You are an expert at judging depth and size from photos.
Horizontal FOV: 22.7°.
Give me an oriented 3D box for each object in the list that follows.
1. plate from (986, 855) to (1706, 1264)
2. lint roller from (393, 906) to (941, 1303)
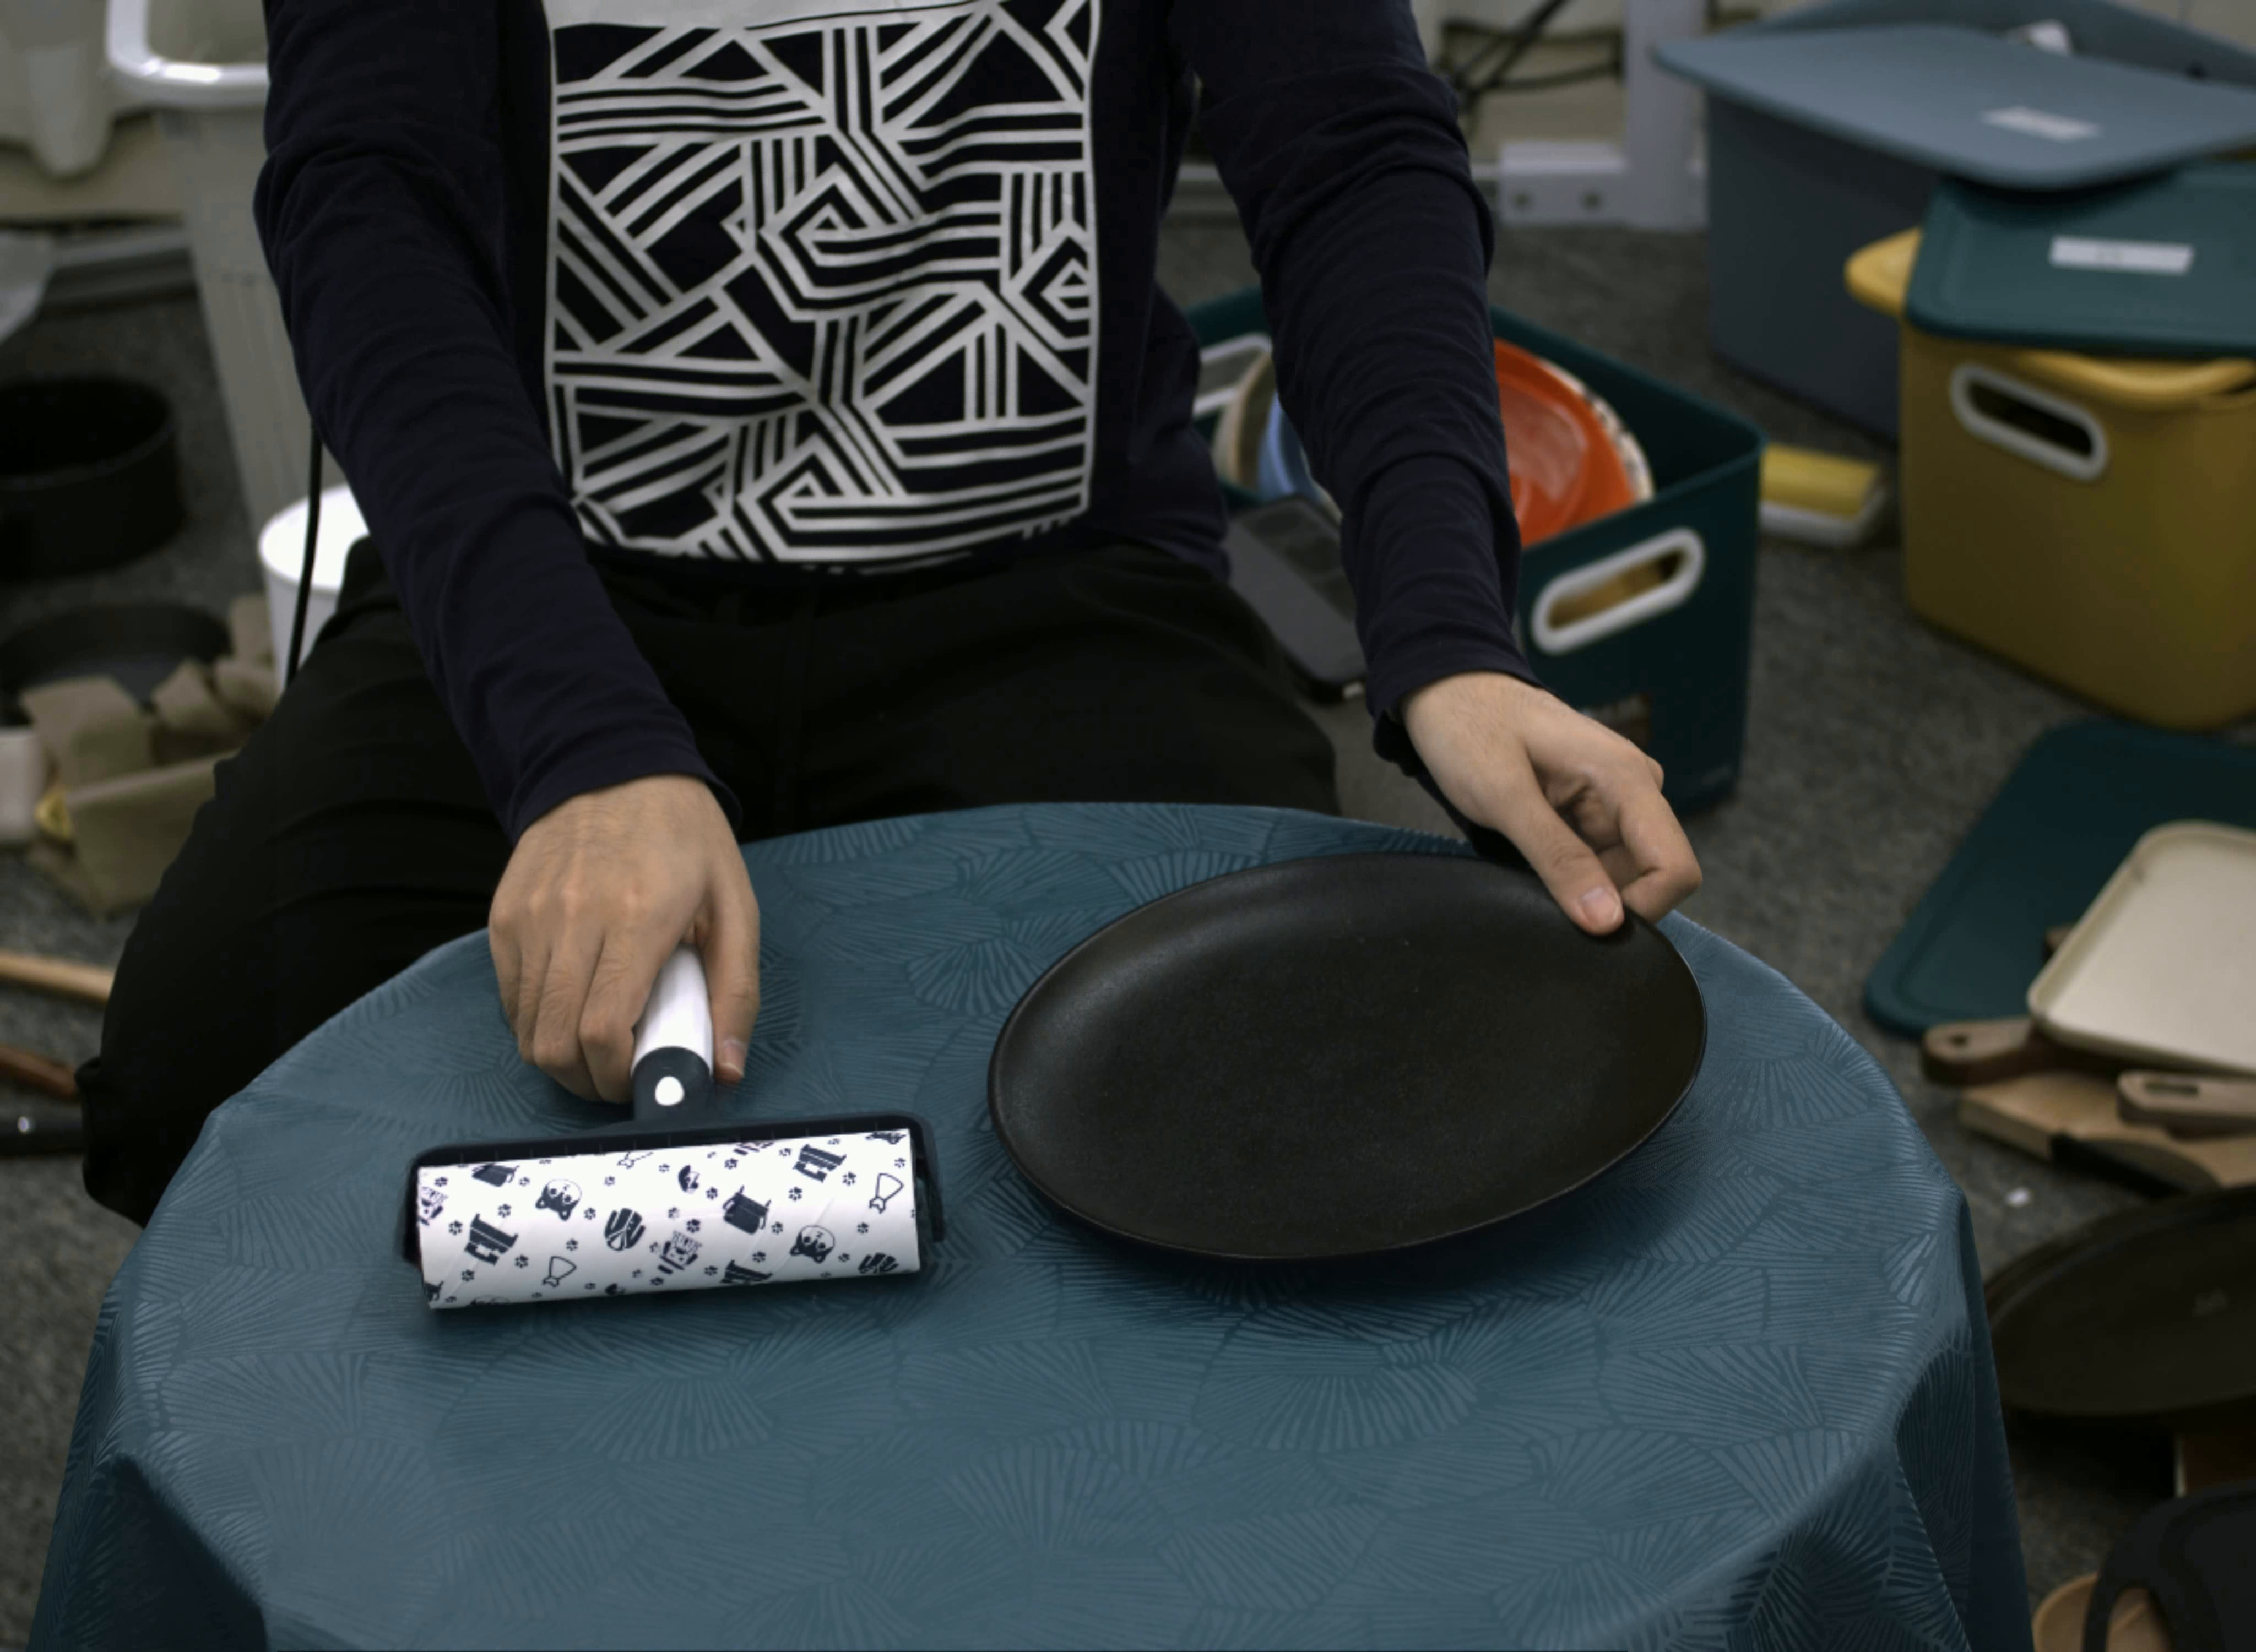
[{"bbox_3d":[0.073,0.082,1.892,0.243,0.023,0.248,-5,30,3],"label":"plate"},{"bbox_3d":[-0.156,0.082,1.905,0.175,0.050,0.250,-5,26,-2],"label":"lint roller"}]
